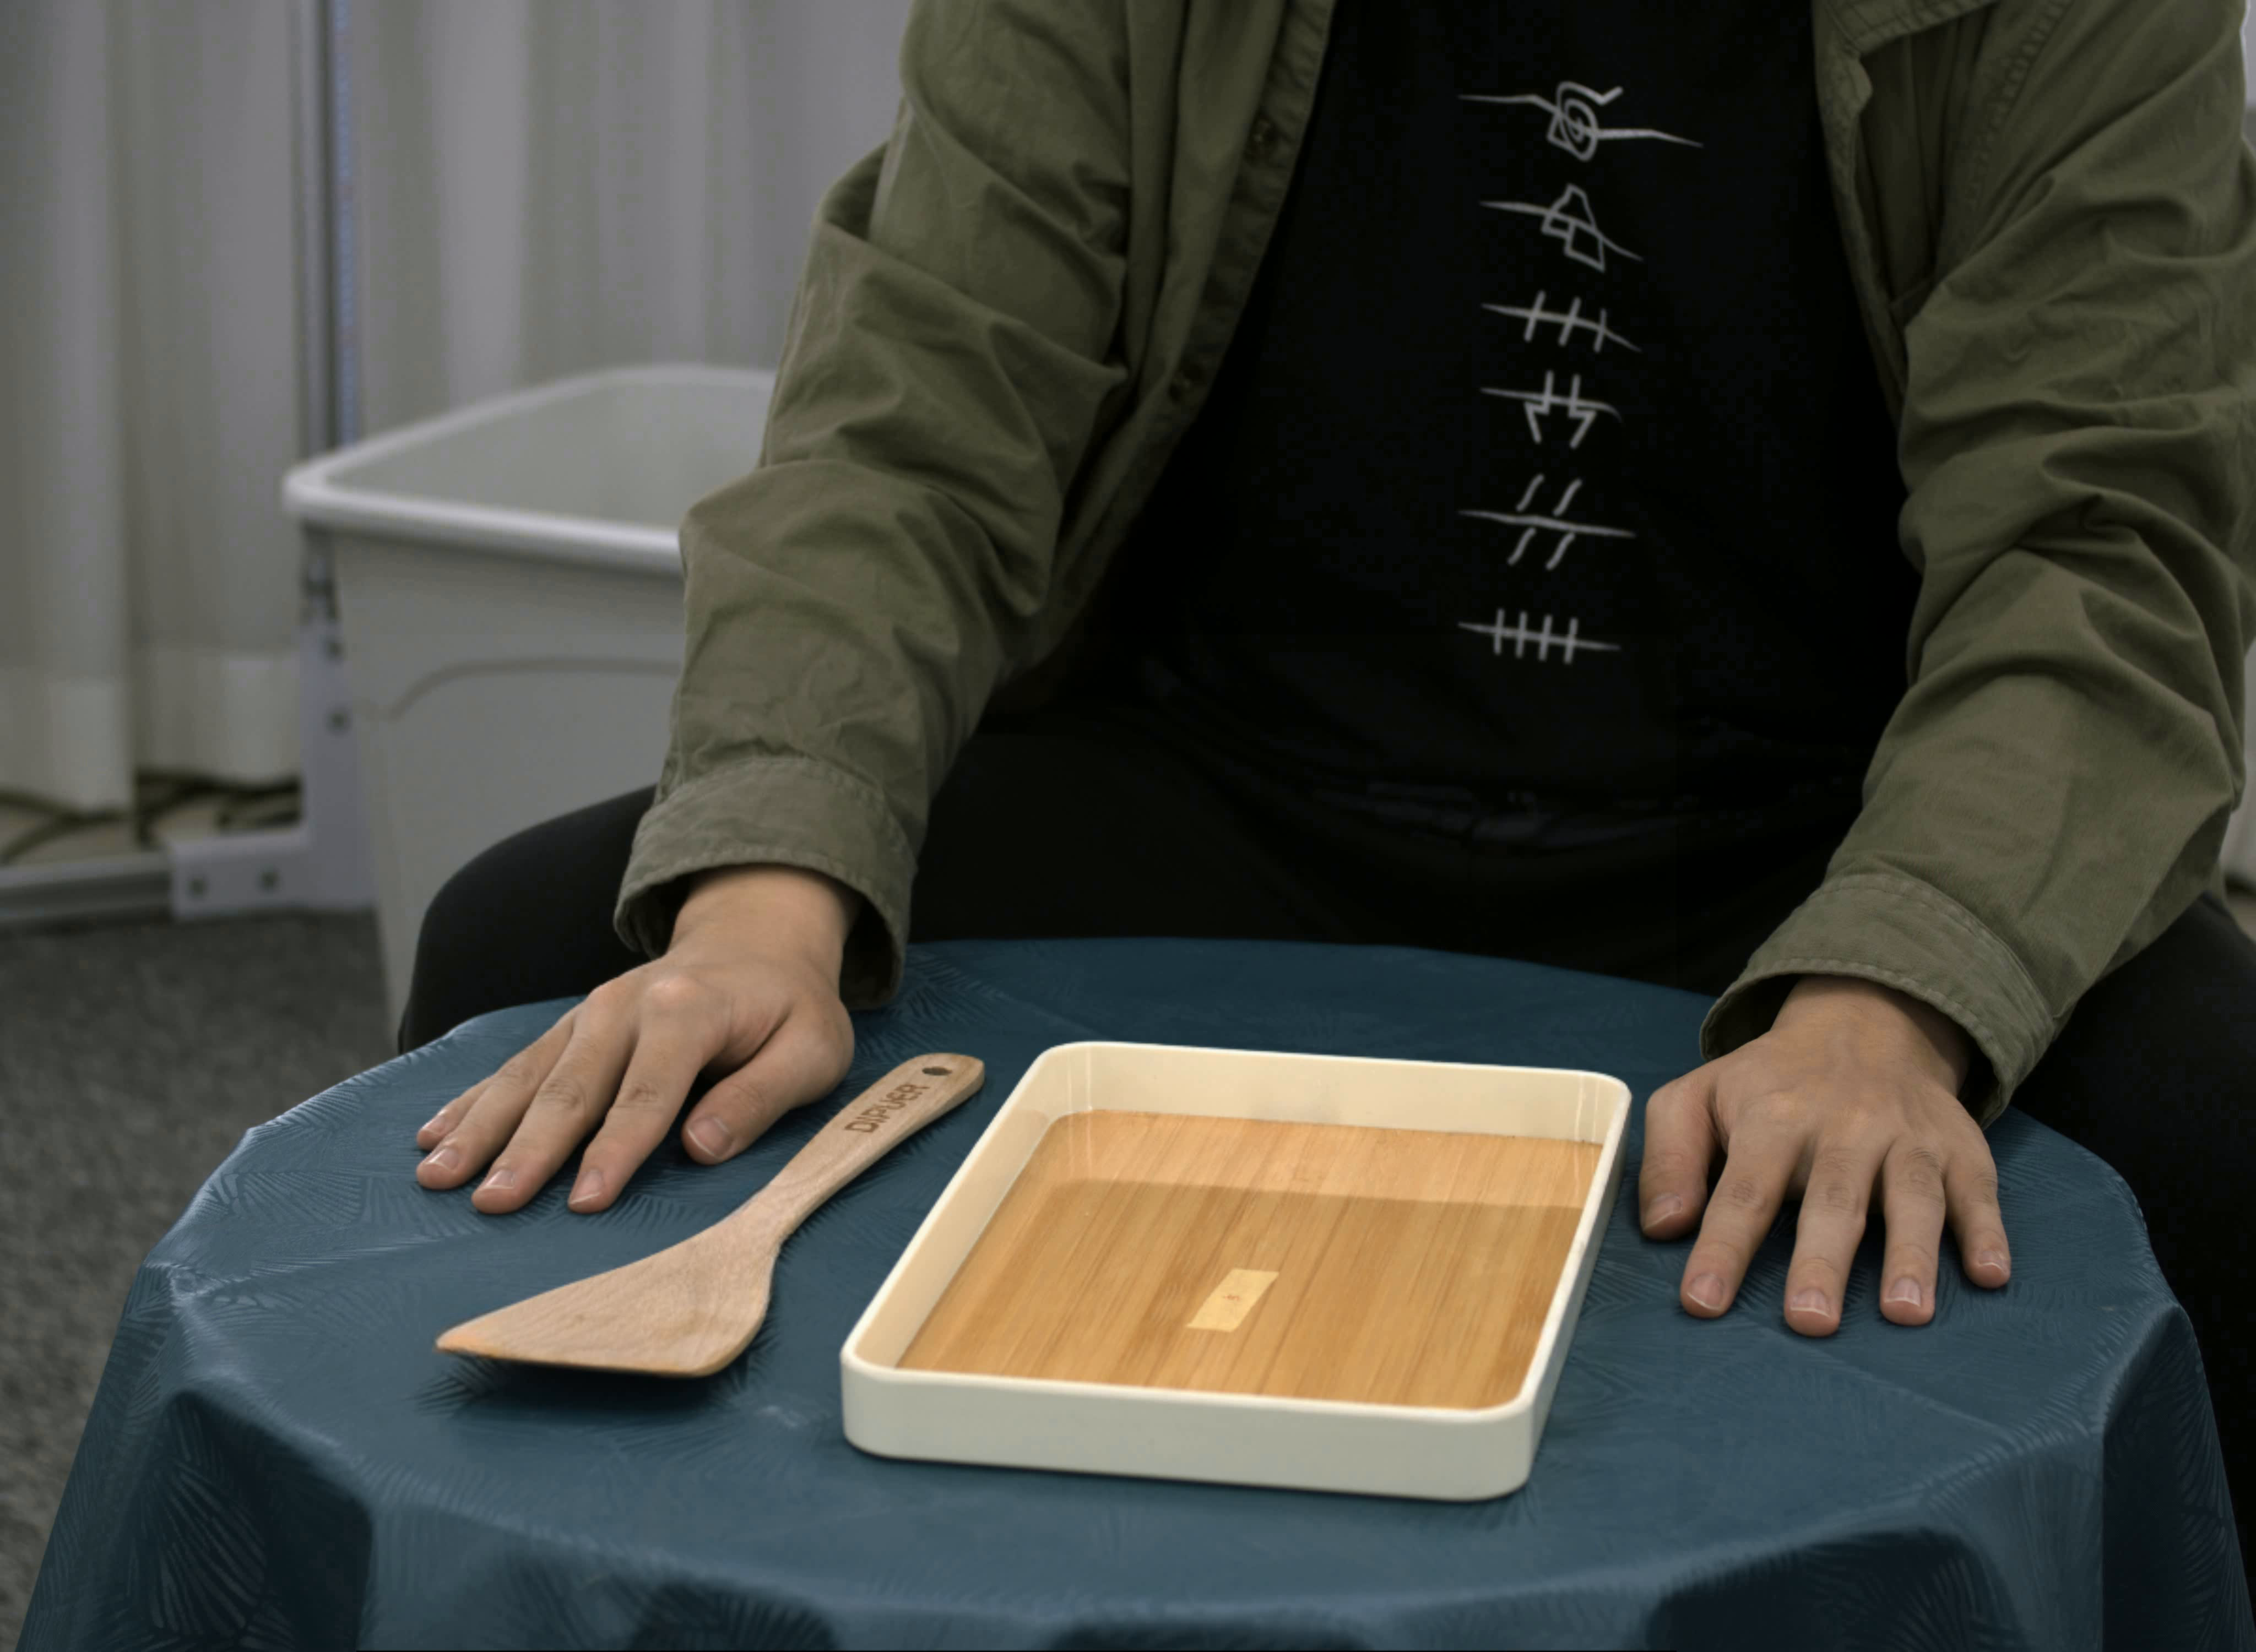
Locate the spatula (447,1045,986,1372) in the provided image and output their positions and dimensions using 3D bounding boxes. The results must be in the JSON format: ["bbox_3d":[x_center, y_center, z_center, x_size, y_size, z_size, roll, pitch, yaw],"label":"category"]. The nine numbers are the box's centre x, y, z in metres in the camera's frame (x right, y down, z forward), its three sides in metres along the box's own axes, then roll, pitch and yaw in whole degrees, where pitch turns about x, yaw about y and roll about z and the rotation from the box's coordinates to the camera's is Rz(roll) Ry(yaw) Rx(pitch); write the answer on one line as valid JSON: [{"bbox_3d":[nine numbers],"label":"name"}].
[{"bbox_3d":[-0.105,0.112,1.595,0.079,0.016,0.327,6,16,17],"label":"spatula"}]

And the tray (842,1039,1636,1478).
[{"bbox_3d":[0.041,0.121,1.544,0.190,0.027,0.300,4,14,11],"label":"tray"}]
